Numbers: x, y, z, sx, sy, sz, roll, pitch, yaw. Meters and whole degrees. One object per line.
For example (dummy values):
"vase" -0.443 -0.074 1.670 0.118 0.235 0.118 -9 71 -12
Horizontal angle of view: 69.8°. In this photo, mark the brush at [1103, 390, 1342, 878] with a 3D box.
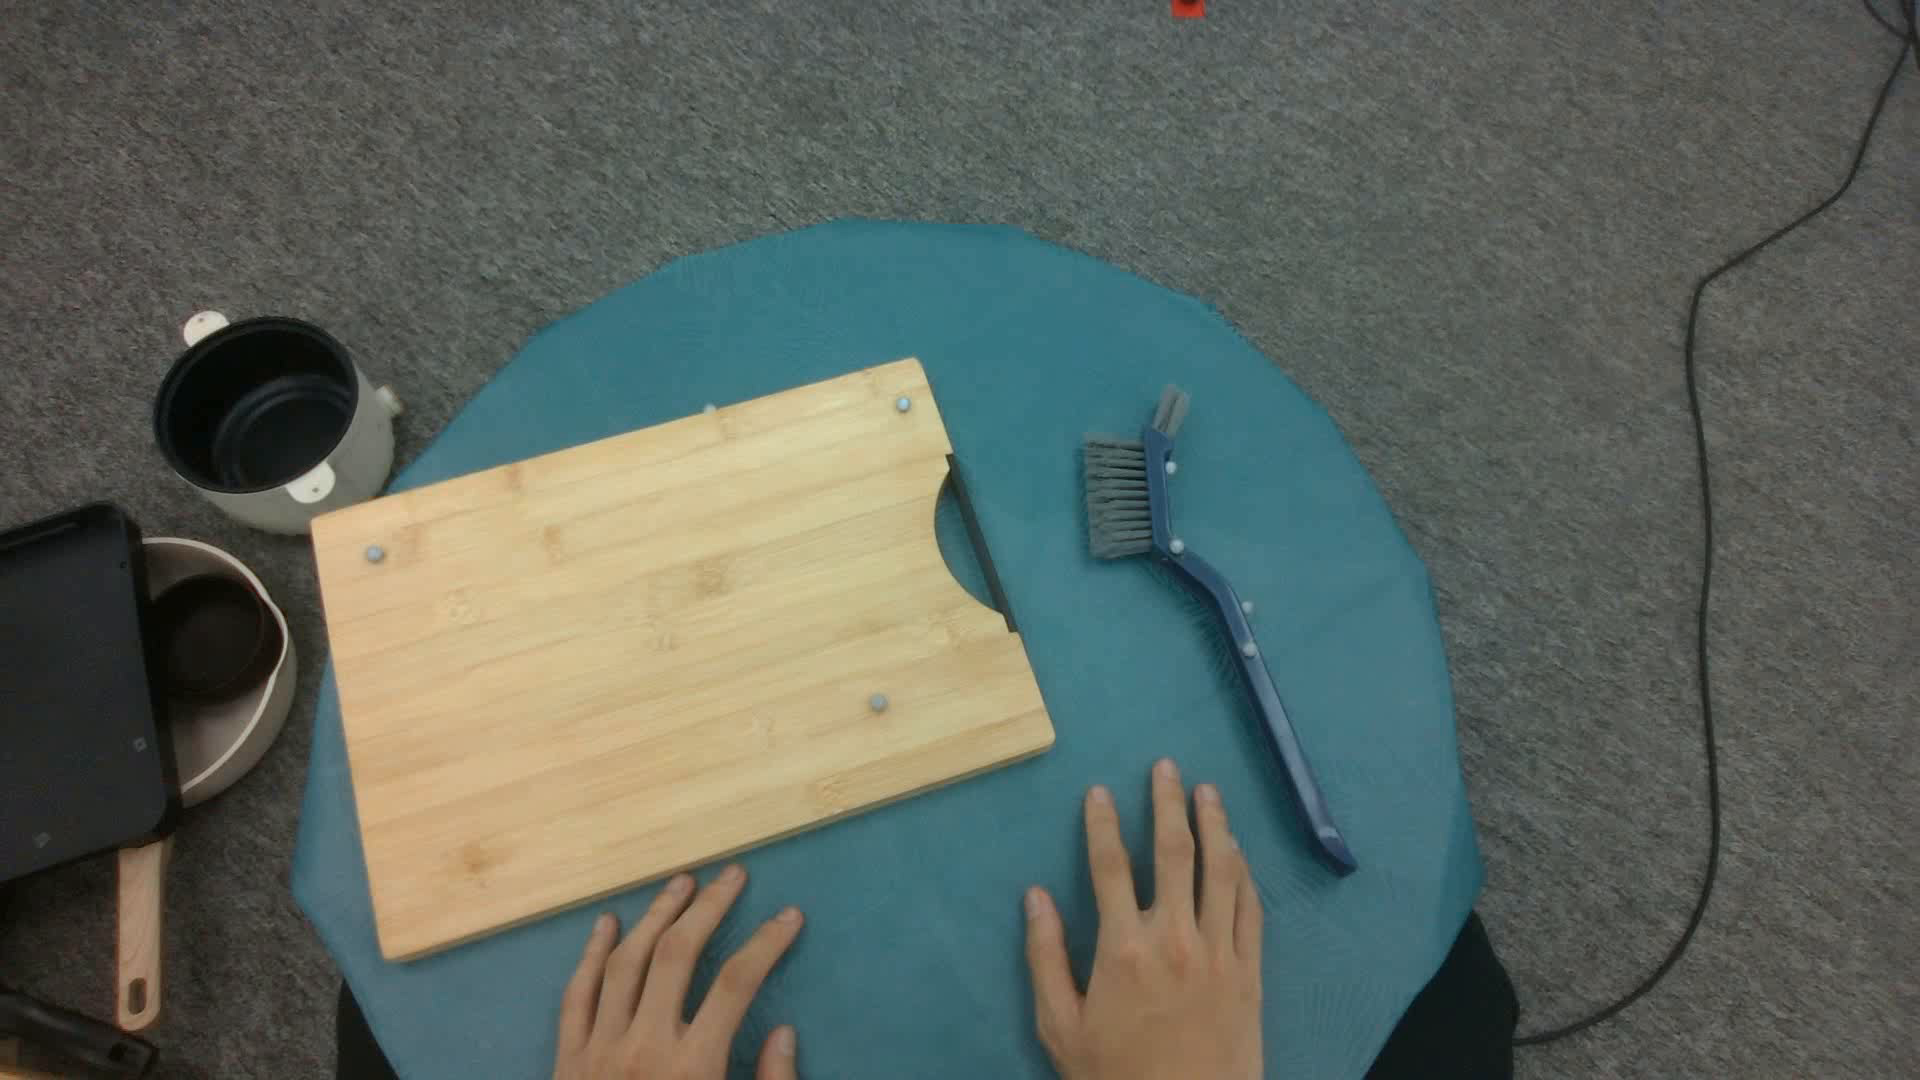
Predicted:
"brush" 0.155 0.044 0.746 0.096 0.033 0.273 -23 68 -11

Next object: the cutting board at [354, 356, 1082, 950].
"cutting board" -0.138 0.048 0.745 0.349 0.023 0.251 -17 69 -8
